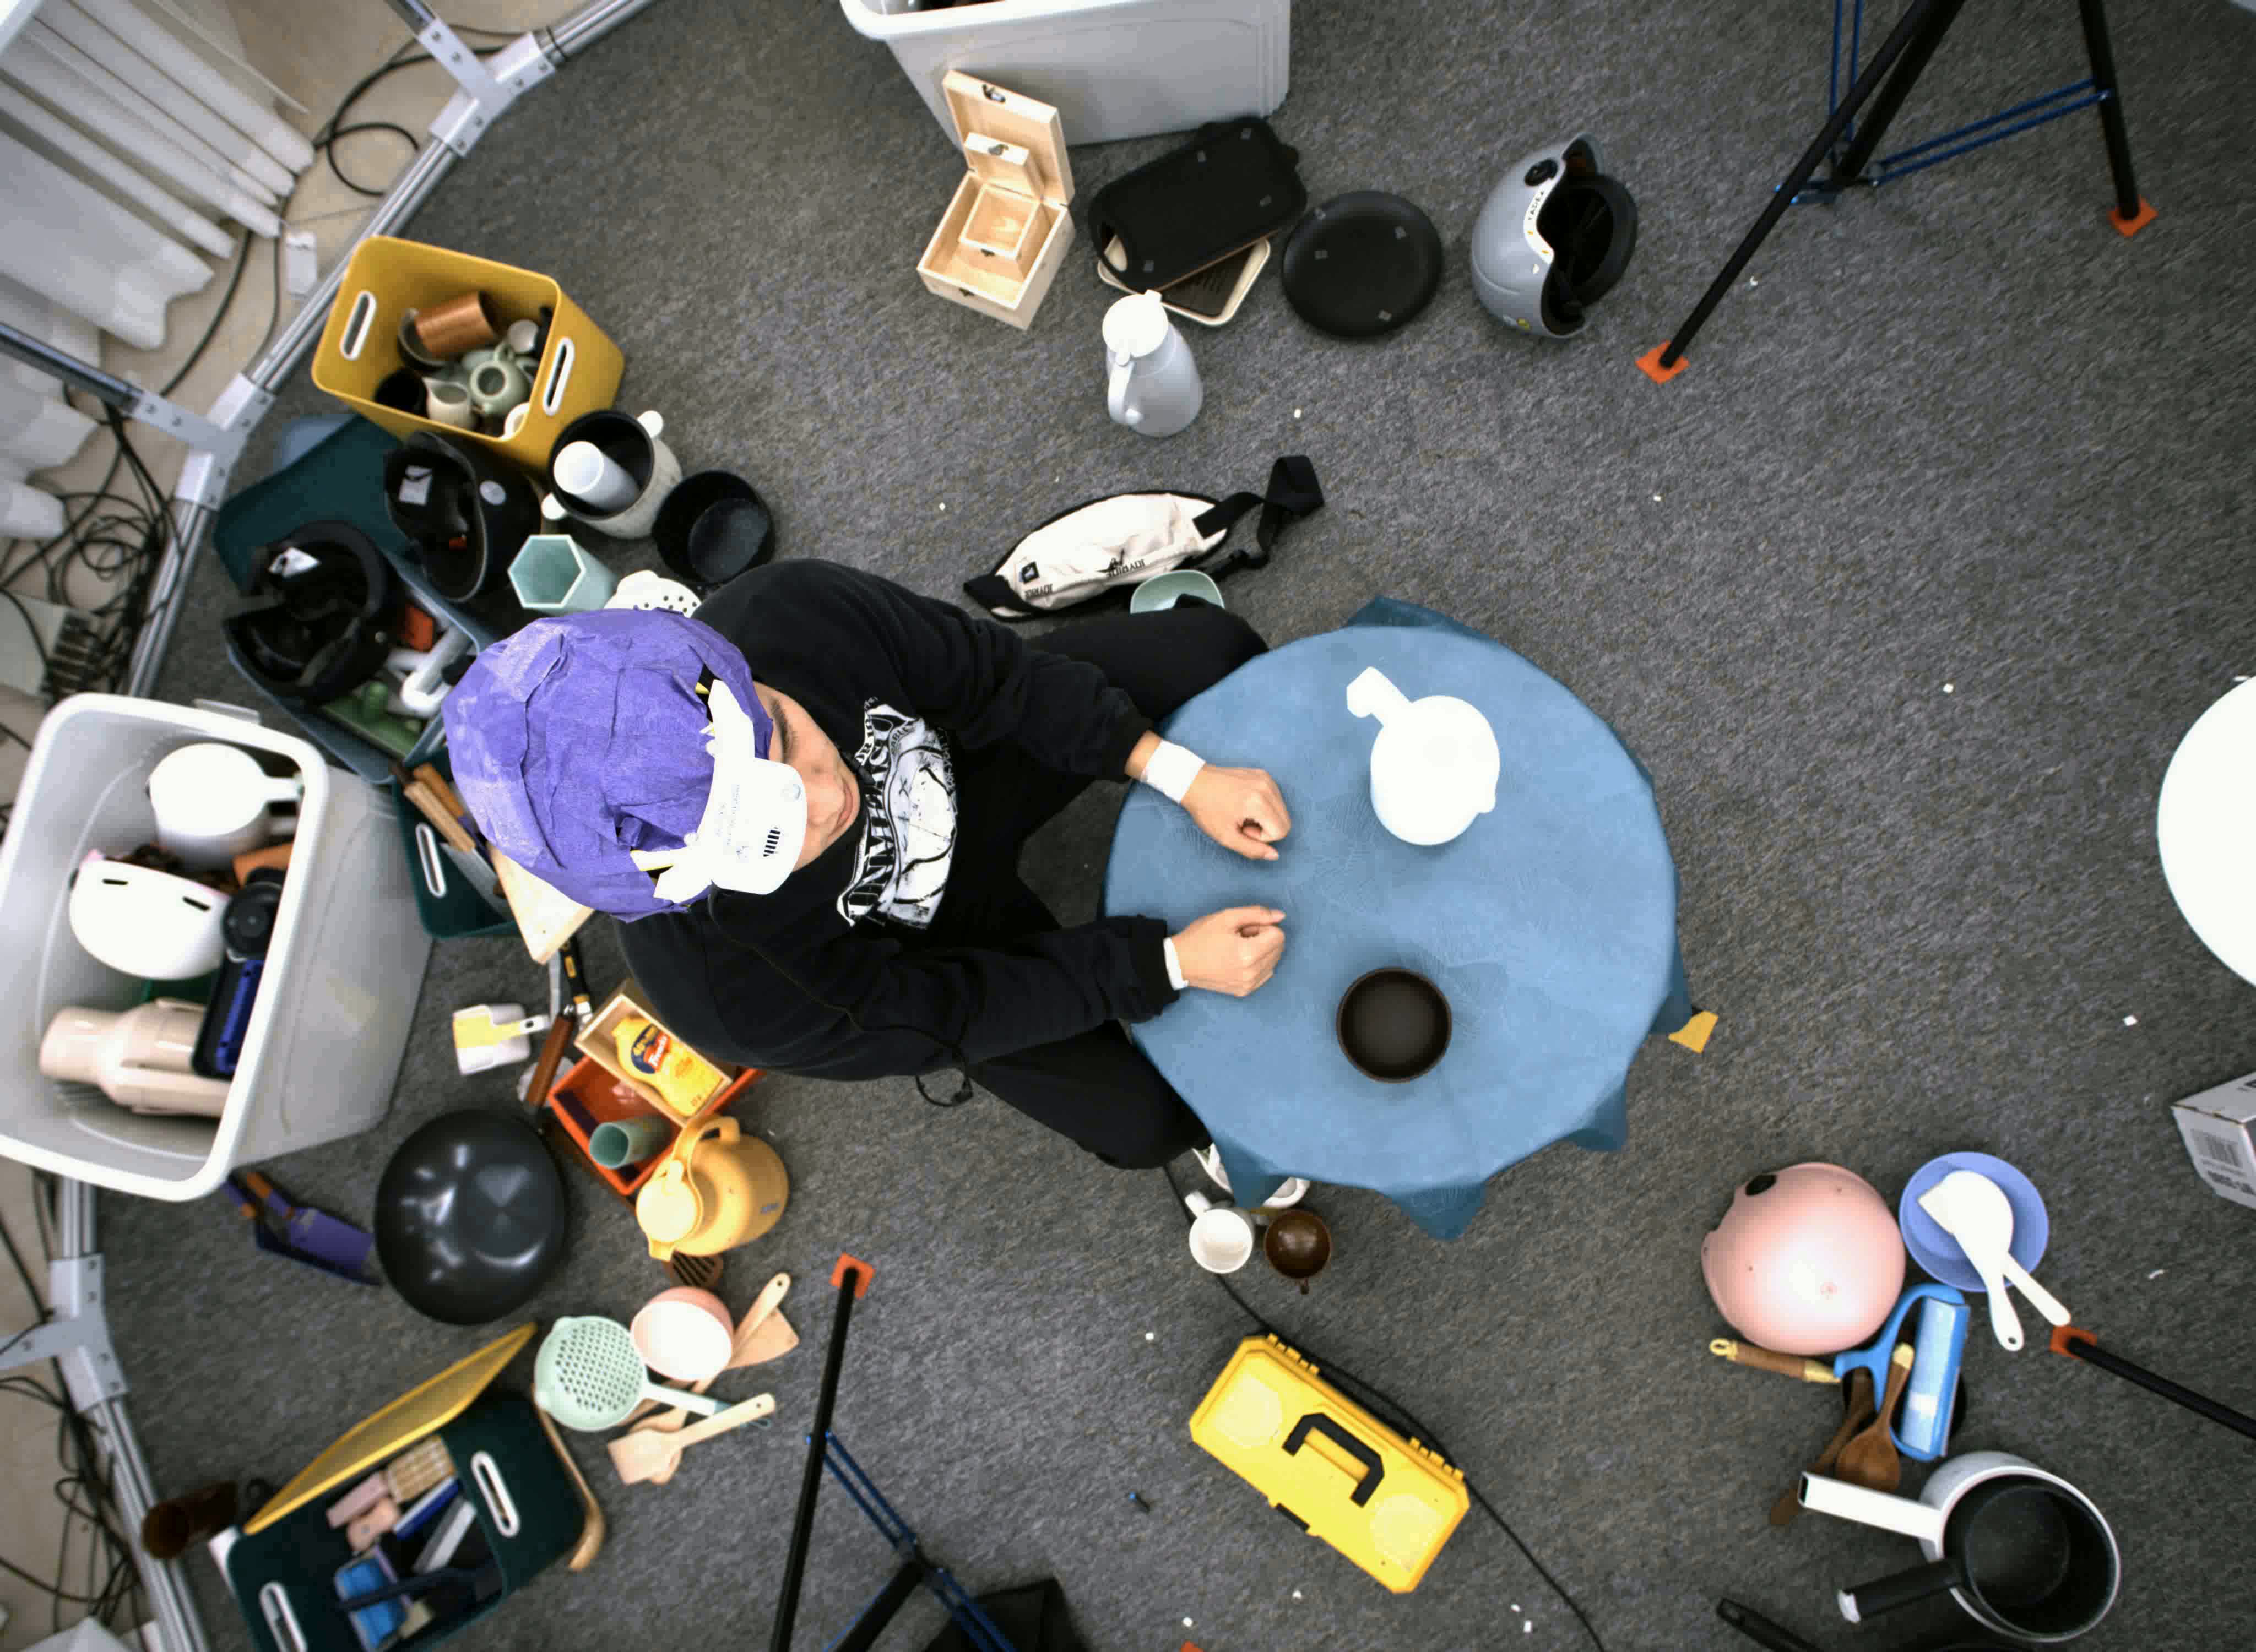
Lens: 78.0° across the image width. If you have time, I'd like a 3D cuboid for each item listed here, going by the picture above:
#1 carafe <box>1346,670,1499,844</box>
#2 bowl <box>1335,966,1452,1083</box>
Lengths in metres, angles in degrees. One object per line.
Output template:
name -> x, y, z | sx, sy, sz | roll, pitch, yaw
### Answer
carafe -> 0.280, -0.064, 1.331 | 0.124, 0.269, 0.172 | -45, 79, 6
bowl -> 0.272, 0.201, 1.417 | 0.118, 0.070, 0.117 | -1, 86, 11
